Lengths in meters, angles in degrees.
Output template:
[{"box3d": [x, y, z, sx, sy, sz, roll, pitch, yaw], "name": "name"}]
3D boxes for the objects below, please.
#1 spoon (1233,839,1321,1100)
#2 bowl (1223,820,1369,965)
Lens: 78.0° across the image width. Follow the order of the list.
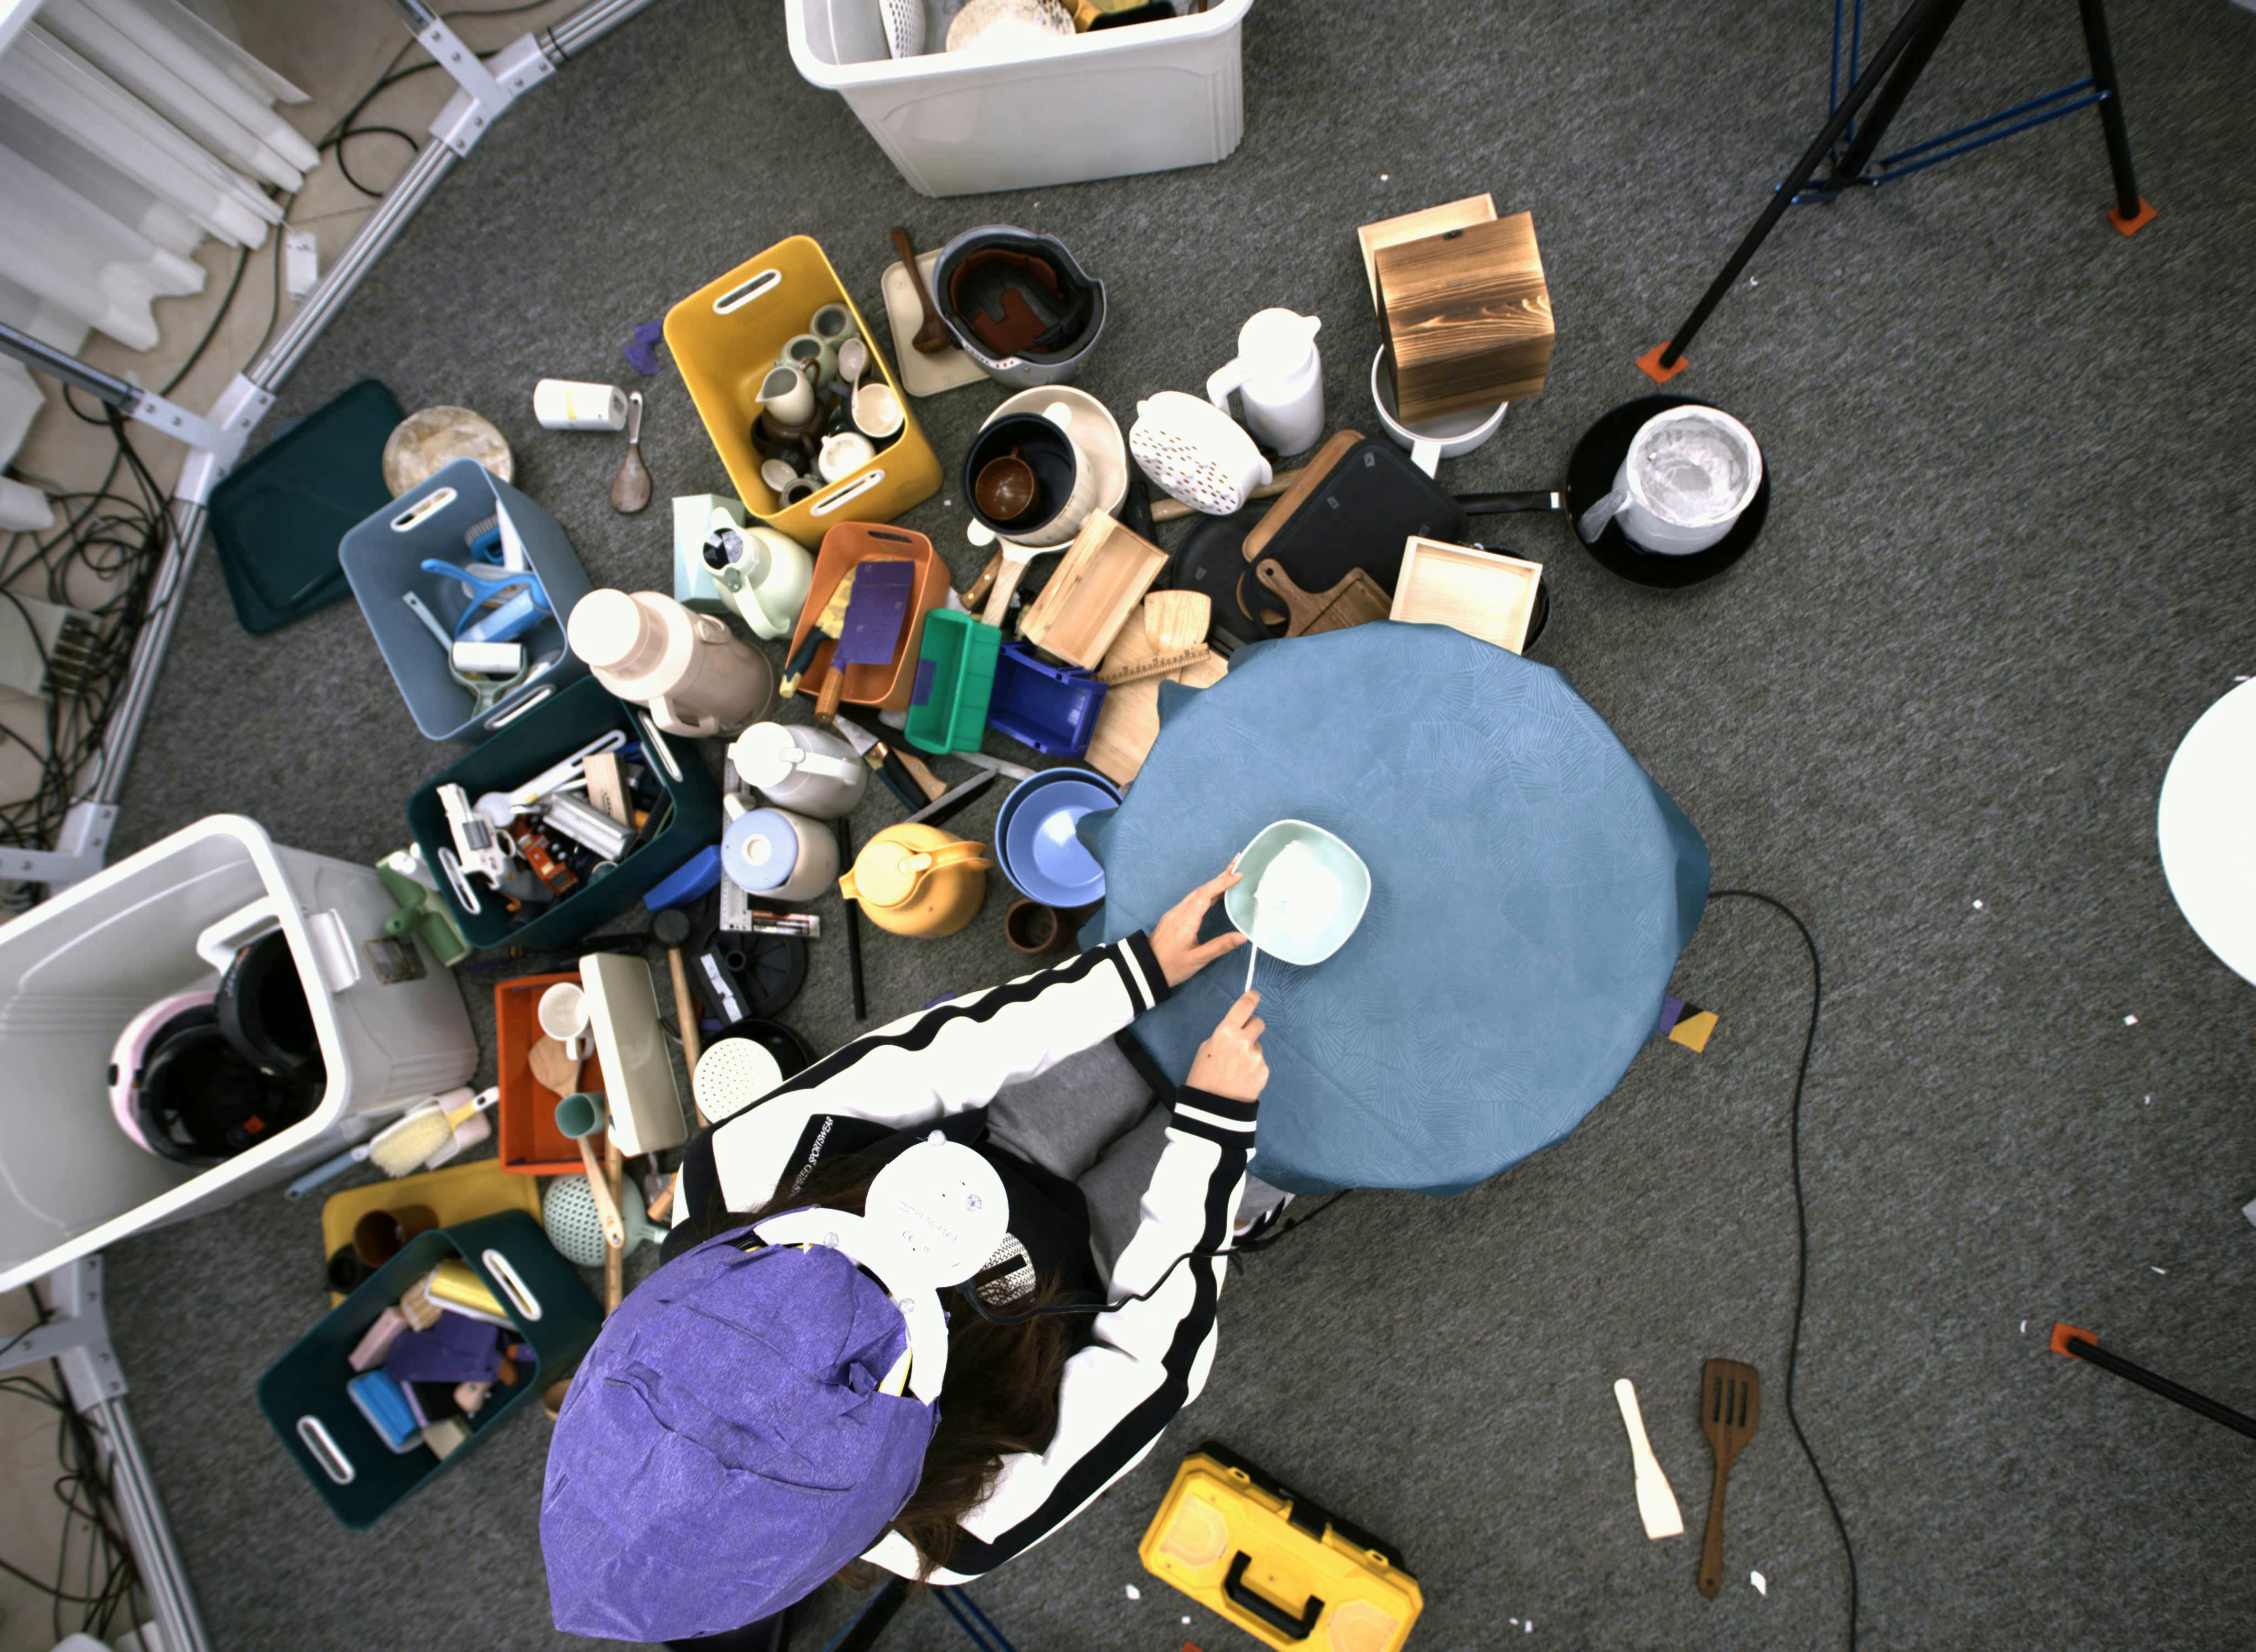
[{"box3d": [0.150, 0.139, 1.387, 0.059, 0.102, 0.272, 3, 66, 16], "name": "spoon"}, {"box3d": [0.177, 0.070, 1.451, 0.152, 0.058, 0.151, -1, 86, 10], "name": "bowl"}]
